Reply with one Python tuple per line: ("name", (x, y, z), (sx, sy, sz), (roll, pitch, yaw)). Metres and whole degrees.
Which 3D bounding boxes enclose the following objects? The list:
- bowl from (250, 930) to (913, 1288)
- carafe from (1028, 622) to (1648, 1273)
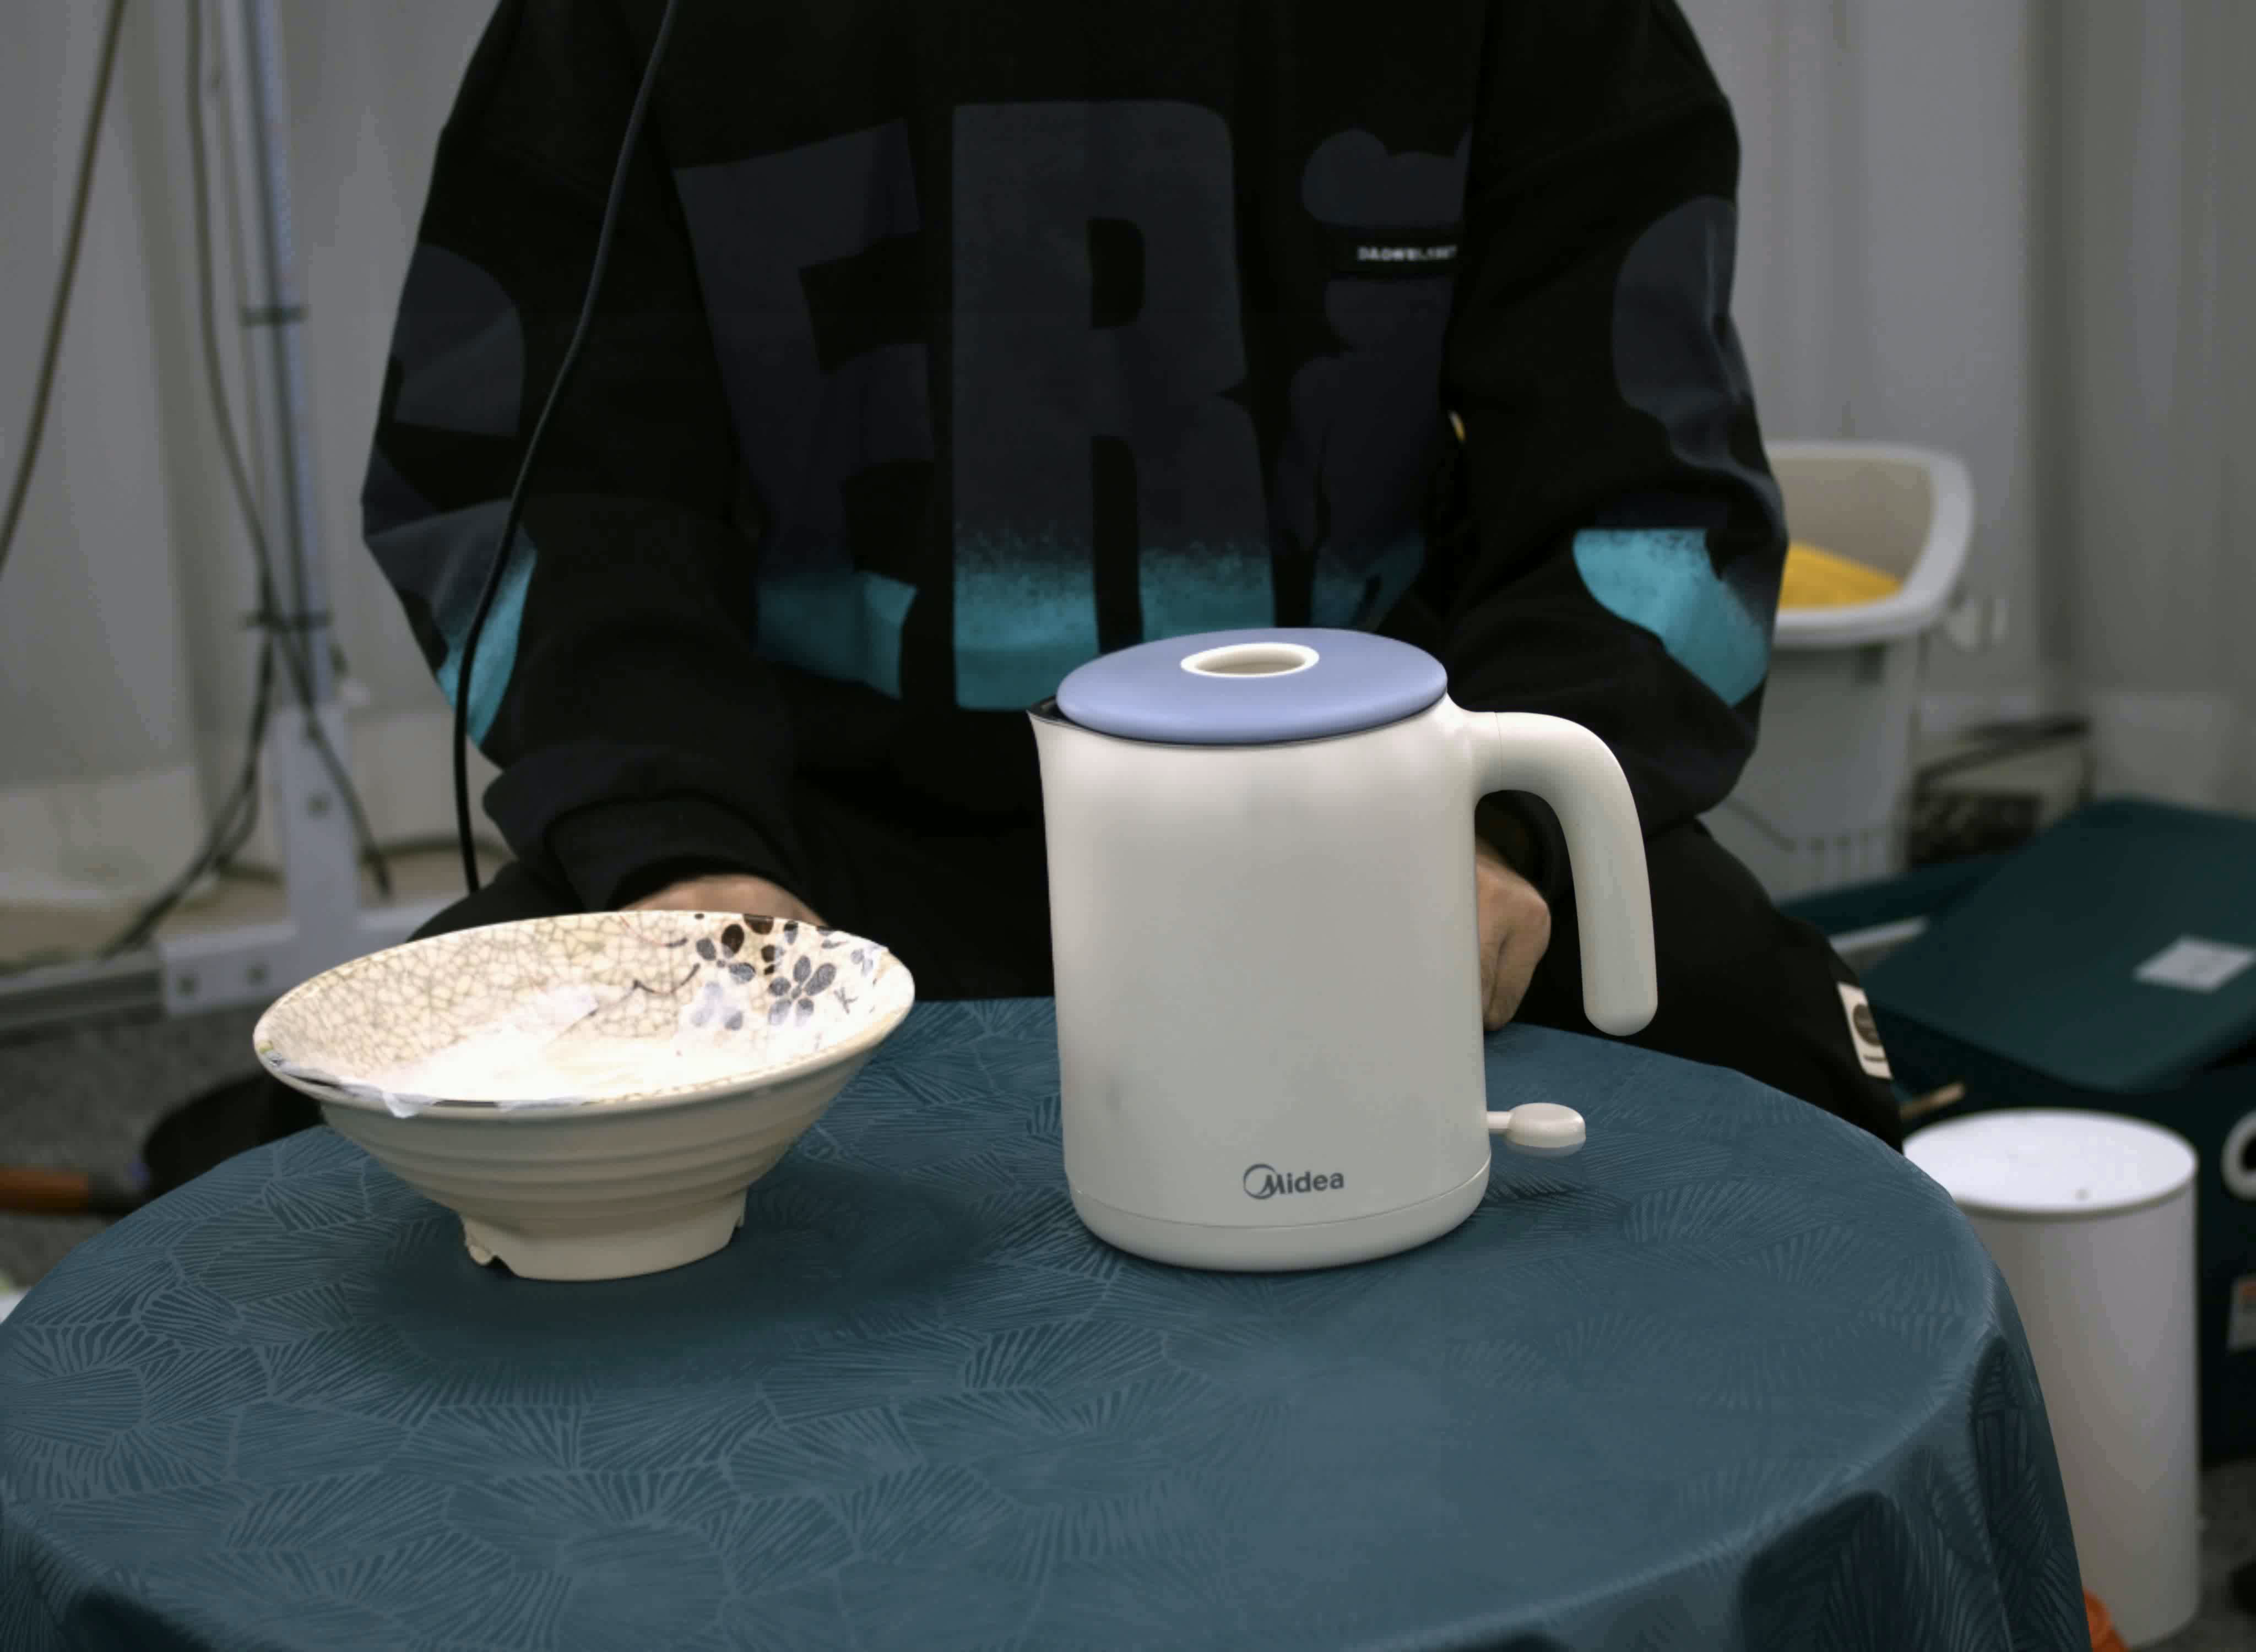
("bowl", (-0.166, 0.093, 1.687), (0.203, 0.078, 0.205), (-3, 12, 0))
("carafe", (0.065, 0.035, 1.672), (0.190, 0.182, 0.133), (-2, 15, -4))
